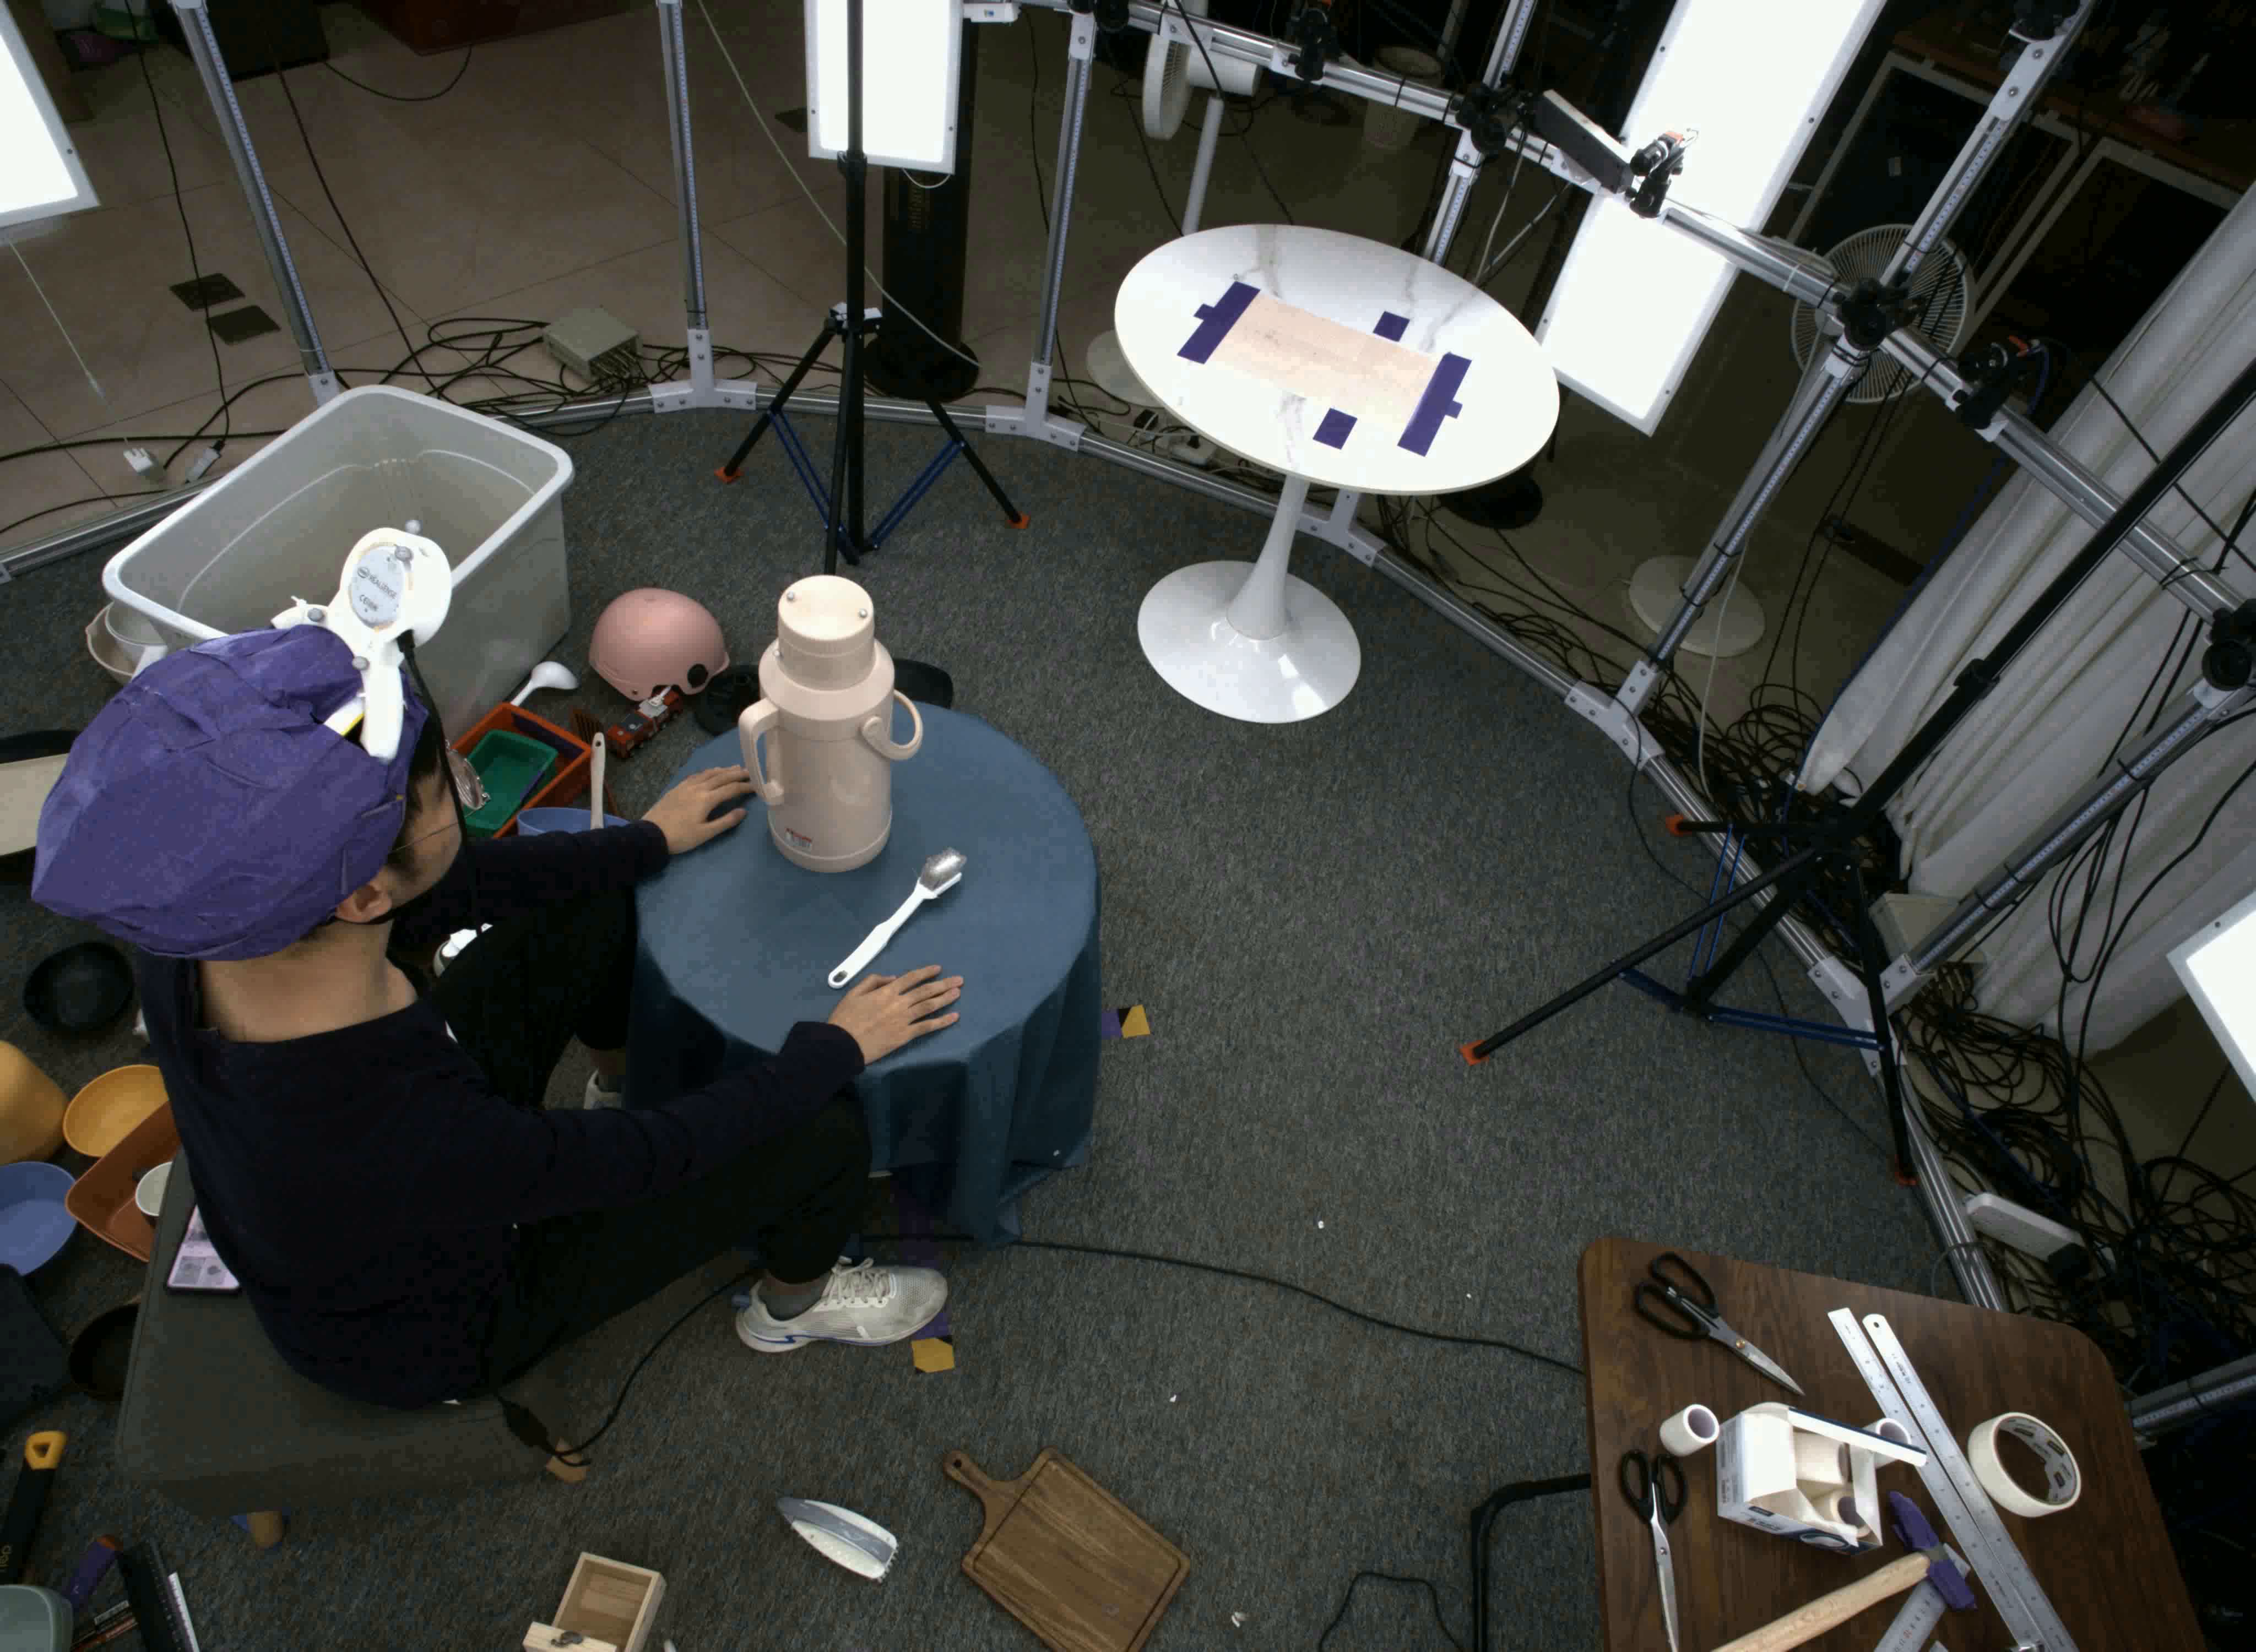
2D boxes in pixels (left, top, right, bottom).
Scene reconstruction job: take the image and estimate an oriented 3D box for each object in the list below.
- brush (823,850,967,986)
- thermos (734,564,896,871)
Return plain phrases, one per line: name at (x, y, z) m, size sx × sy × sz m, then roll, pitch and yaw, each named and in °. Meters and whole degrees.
brush at (-0.294, 0.110, 1.645) m, size 0.034 × 0.051 × 0.243 m, roll 38°, pitch 54°, yaw 12°
thermos at (-0.380, -0.121, 1.571) m, size 0.171 × 0.414 × 0.207 m, roll 41°, pitch 56°, yaw 18°
